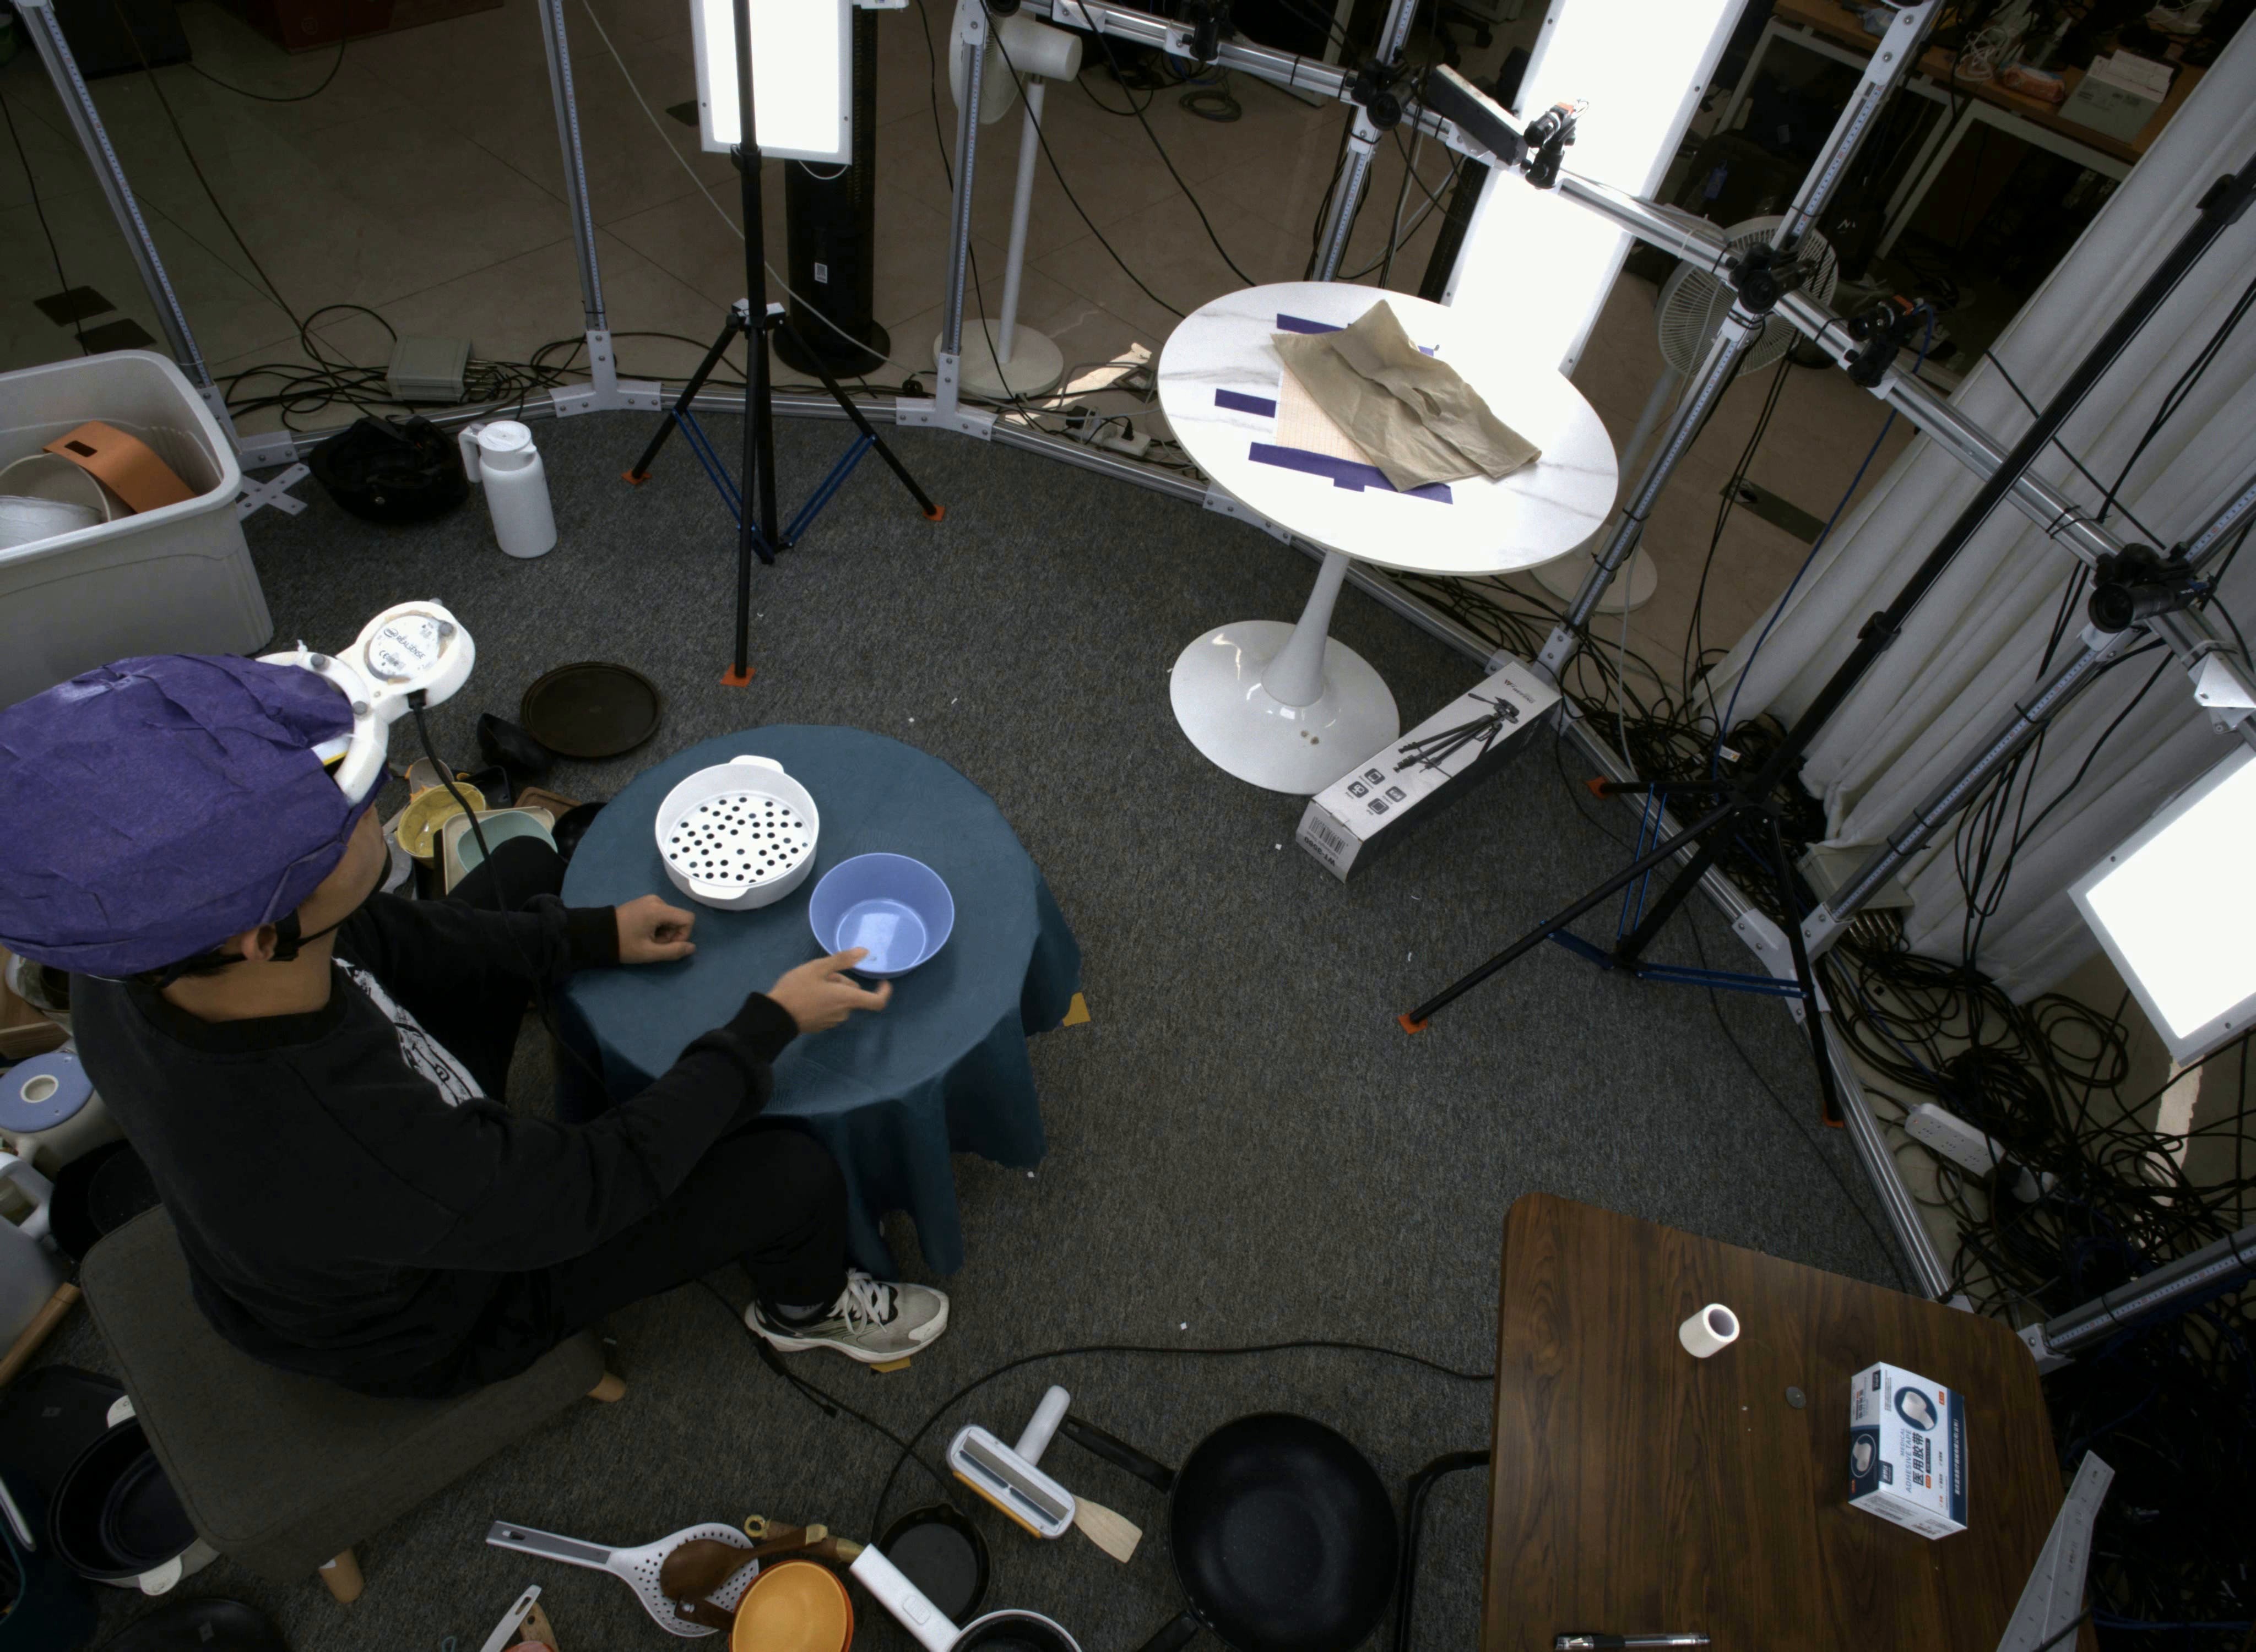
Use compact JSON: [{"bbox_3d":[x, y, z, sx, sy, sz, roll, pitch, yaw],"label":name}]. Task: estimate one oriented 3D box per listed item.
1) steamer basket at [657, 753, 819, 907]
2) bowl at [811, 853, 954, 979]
[{"bbox_3d":[-0.498,0.009,1.659,0.201,0.071,0.226,9,50,-7],"label":"steamer basket"},{"bbox_3d":[-0.305,0.122,1.623,0.175,0.072,0.173,7,52,-7],"label":"bowl"}]
